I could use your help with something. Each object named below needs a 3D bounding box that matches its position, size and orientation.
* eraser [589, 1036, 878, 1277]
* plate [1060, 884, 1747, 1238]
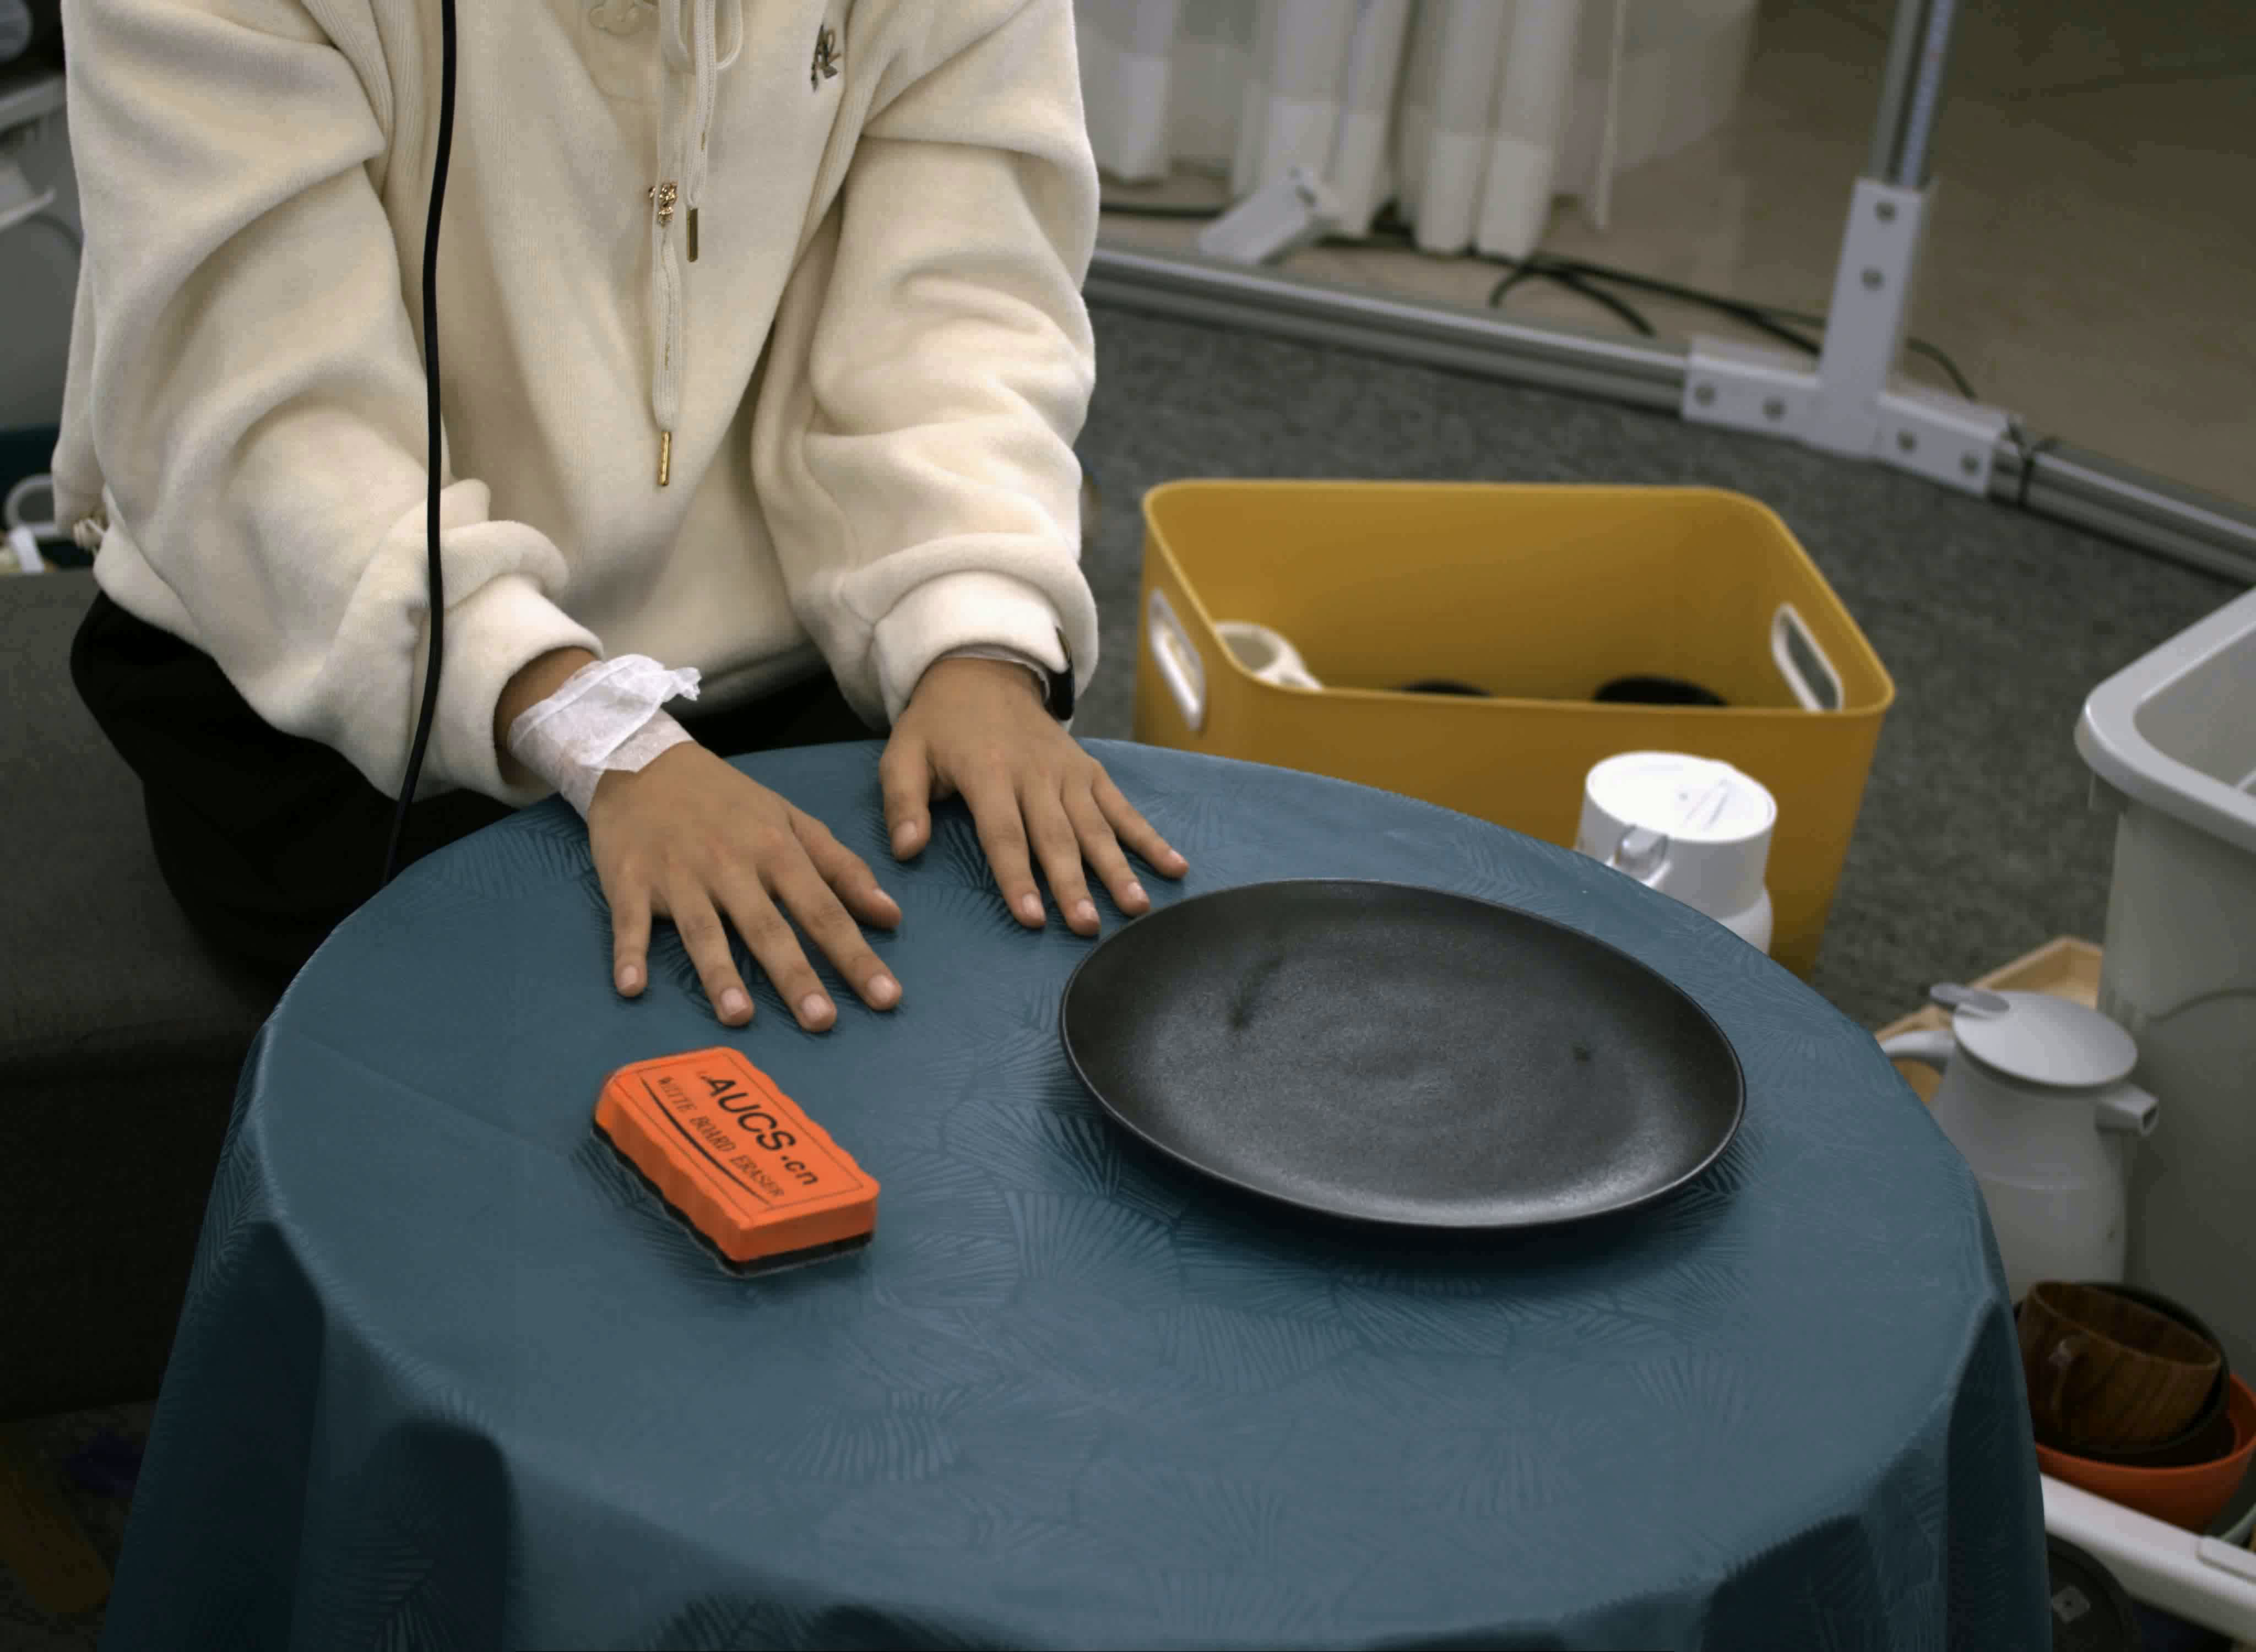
[{"bbox_3d":[-0.132,0.109,1.769,0.058,0.023,0.109,-13,35,-31],"label":"eraser"},{"bbox_3d":[0.096,0.086,1.871,0.243,0.023,0.246,5,27,-3],"label":"plate"}]
